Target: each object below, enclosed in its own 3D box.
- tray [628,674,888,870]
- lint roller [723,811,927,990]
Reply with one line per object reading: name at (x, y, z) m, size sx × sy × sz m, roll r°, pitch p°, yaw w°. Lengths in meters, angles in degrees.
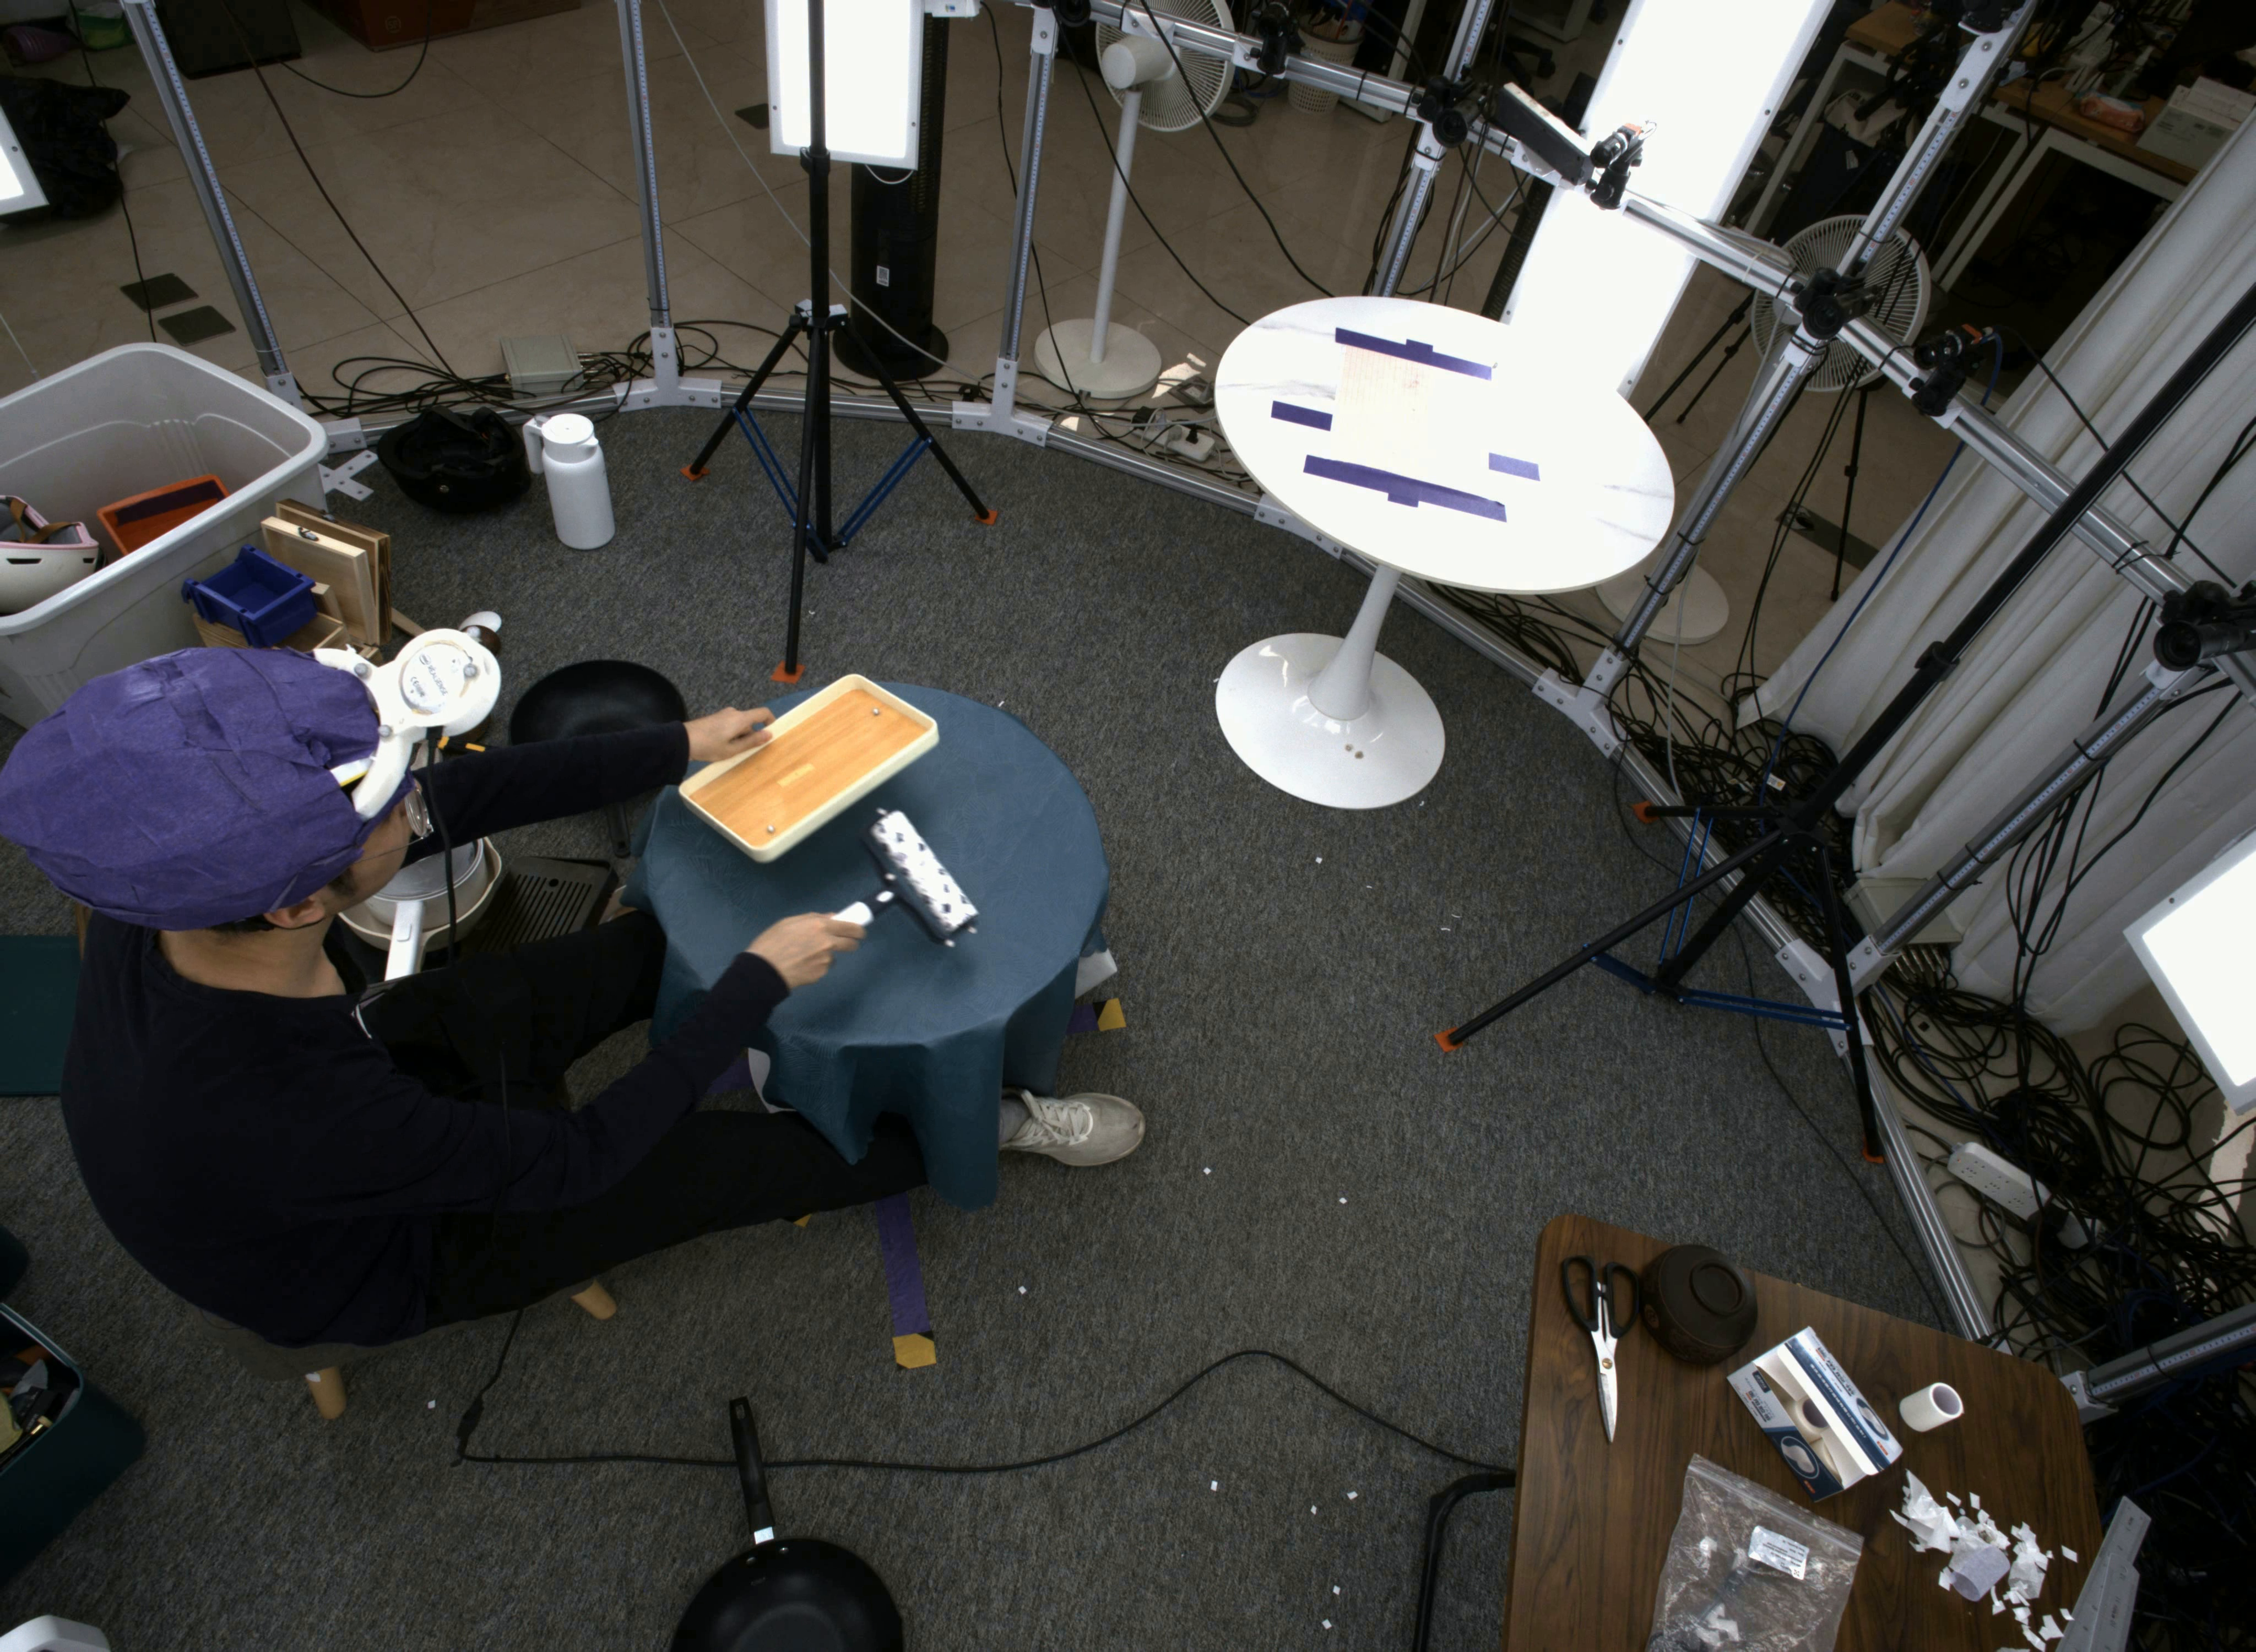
tray at (-0.473, -0.077, 1.657) m, size 0.185 × 0.028 × 0.300 m, roll 30°, pitch 55°, yaw 28°
lint roller at (-0.377, 0.111, 1.543) m, size 0.177 × 0.050 × 0.247 m, roll 50°, pitch 55°, yaw -2°
